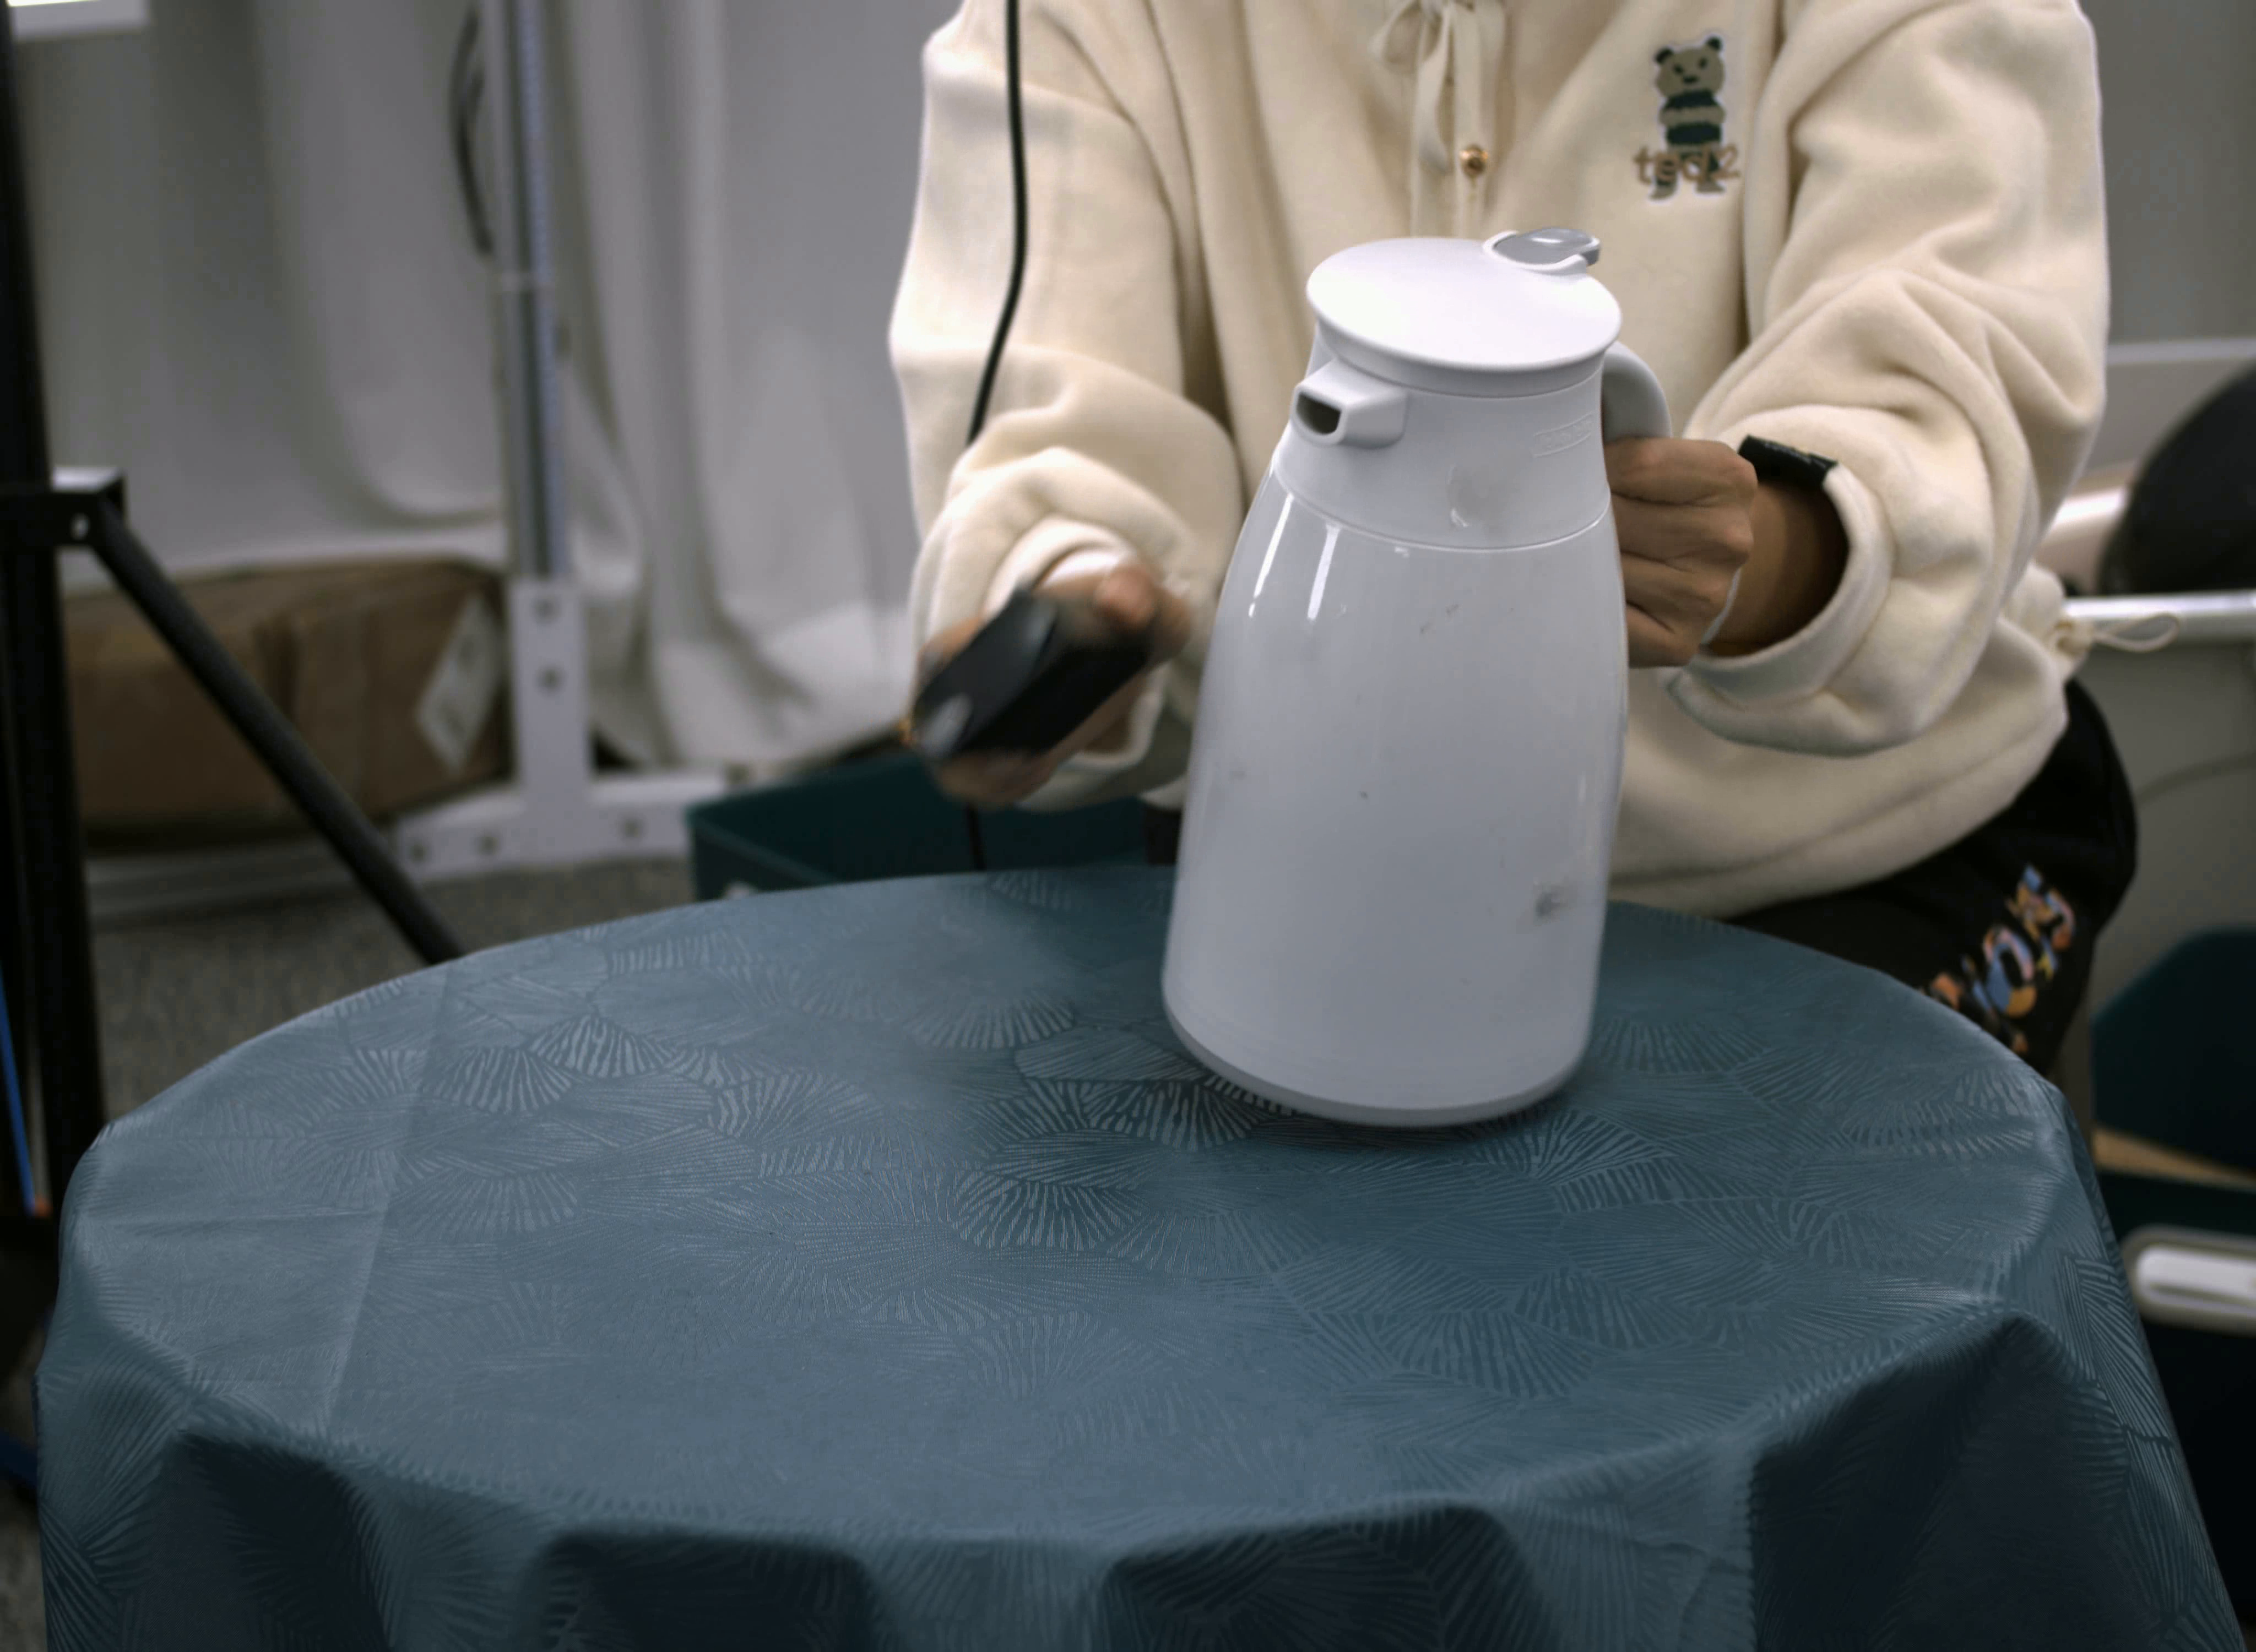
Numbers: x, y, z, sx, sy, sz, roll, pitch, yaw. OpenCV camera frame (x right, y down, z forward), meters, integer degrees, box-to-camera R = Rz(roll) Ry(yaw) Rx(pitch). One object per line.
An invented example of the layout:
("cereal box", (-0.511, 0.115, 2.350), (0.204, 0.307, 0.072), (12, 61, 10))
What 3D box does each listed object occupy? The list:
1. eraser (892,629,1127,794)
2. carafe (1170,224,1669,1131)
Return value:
("eraser", (-0.035, -0.036, 1.647), (0.053, 0.030, 0.124), (-38, -4, 8))
("carafe", (0.099, -0.055, 1.588), (0.135, 0.248, 0.164), (25, 33, 35))
